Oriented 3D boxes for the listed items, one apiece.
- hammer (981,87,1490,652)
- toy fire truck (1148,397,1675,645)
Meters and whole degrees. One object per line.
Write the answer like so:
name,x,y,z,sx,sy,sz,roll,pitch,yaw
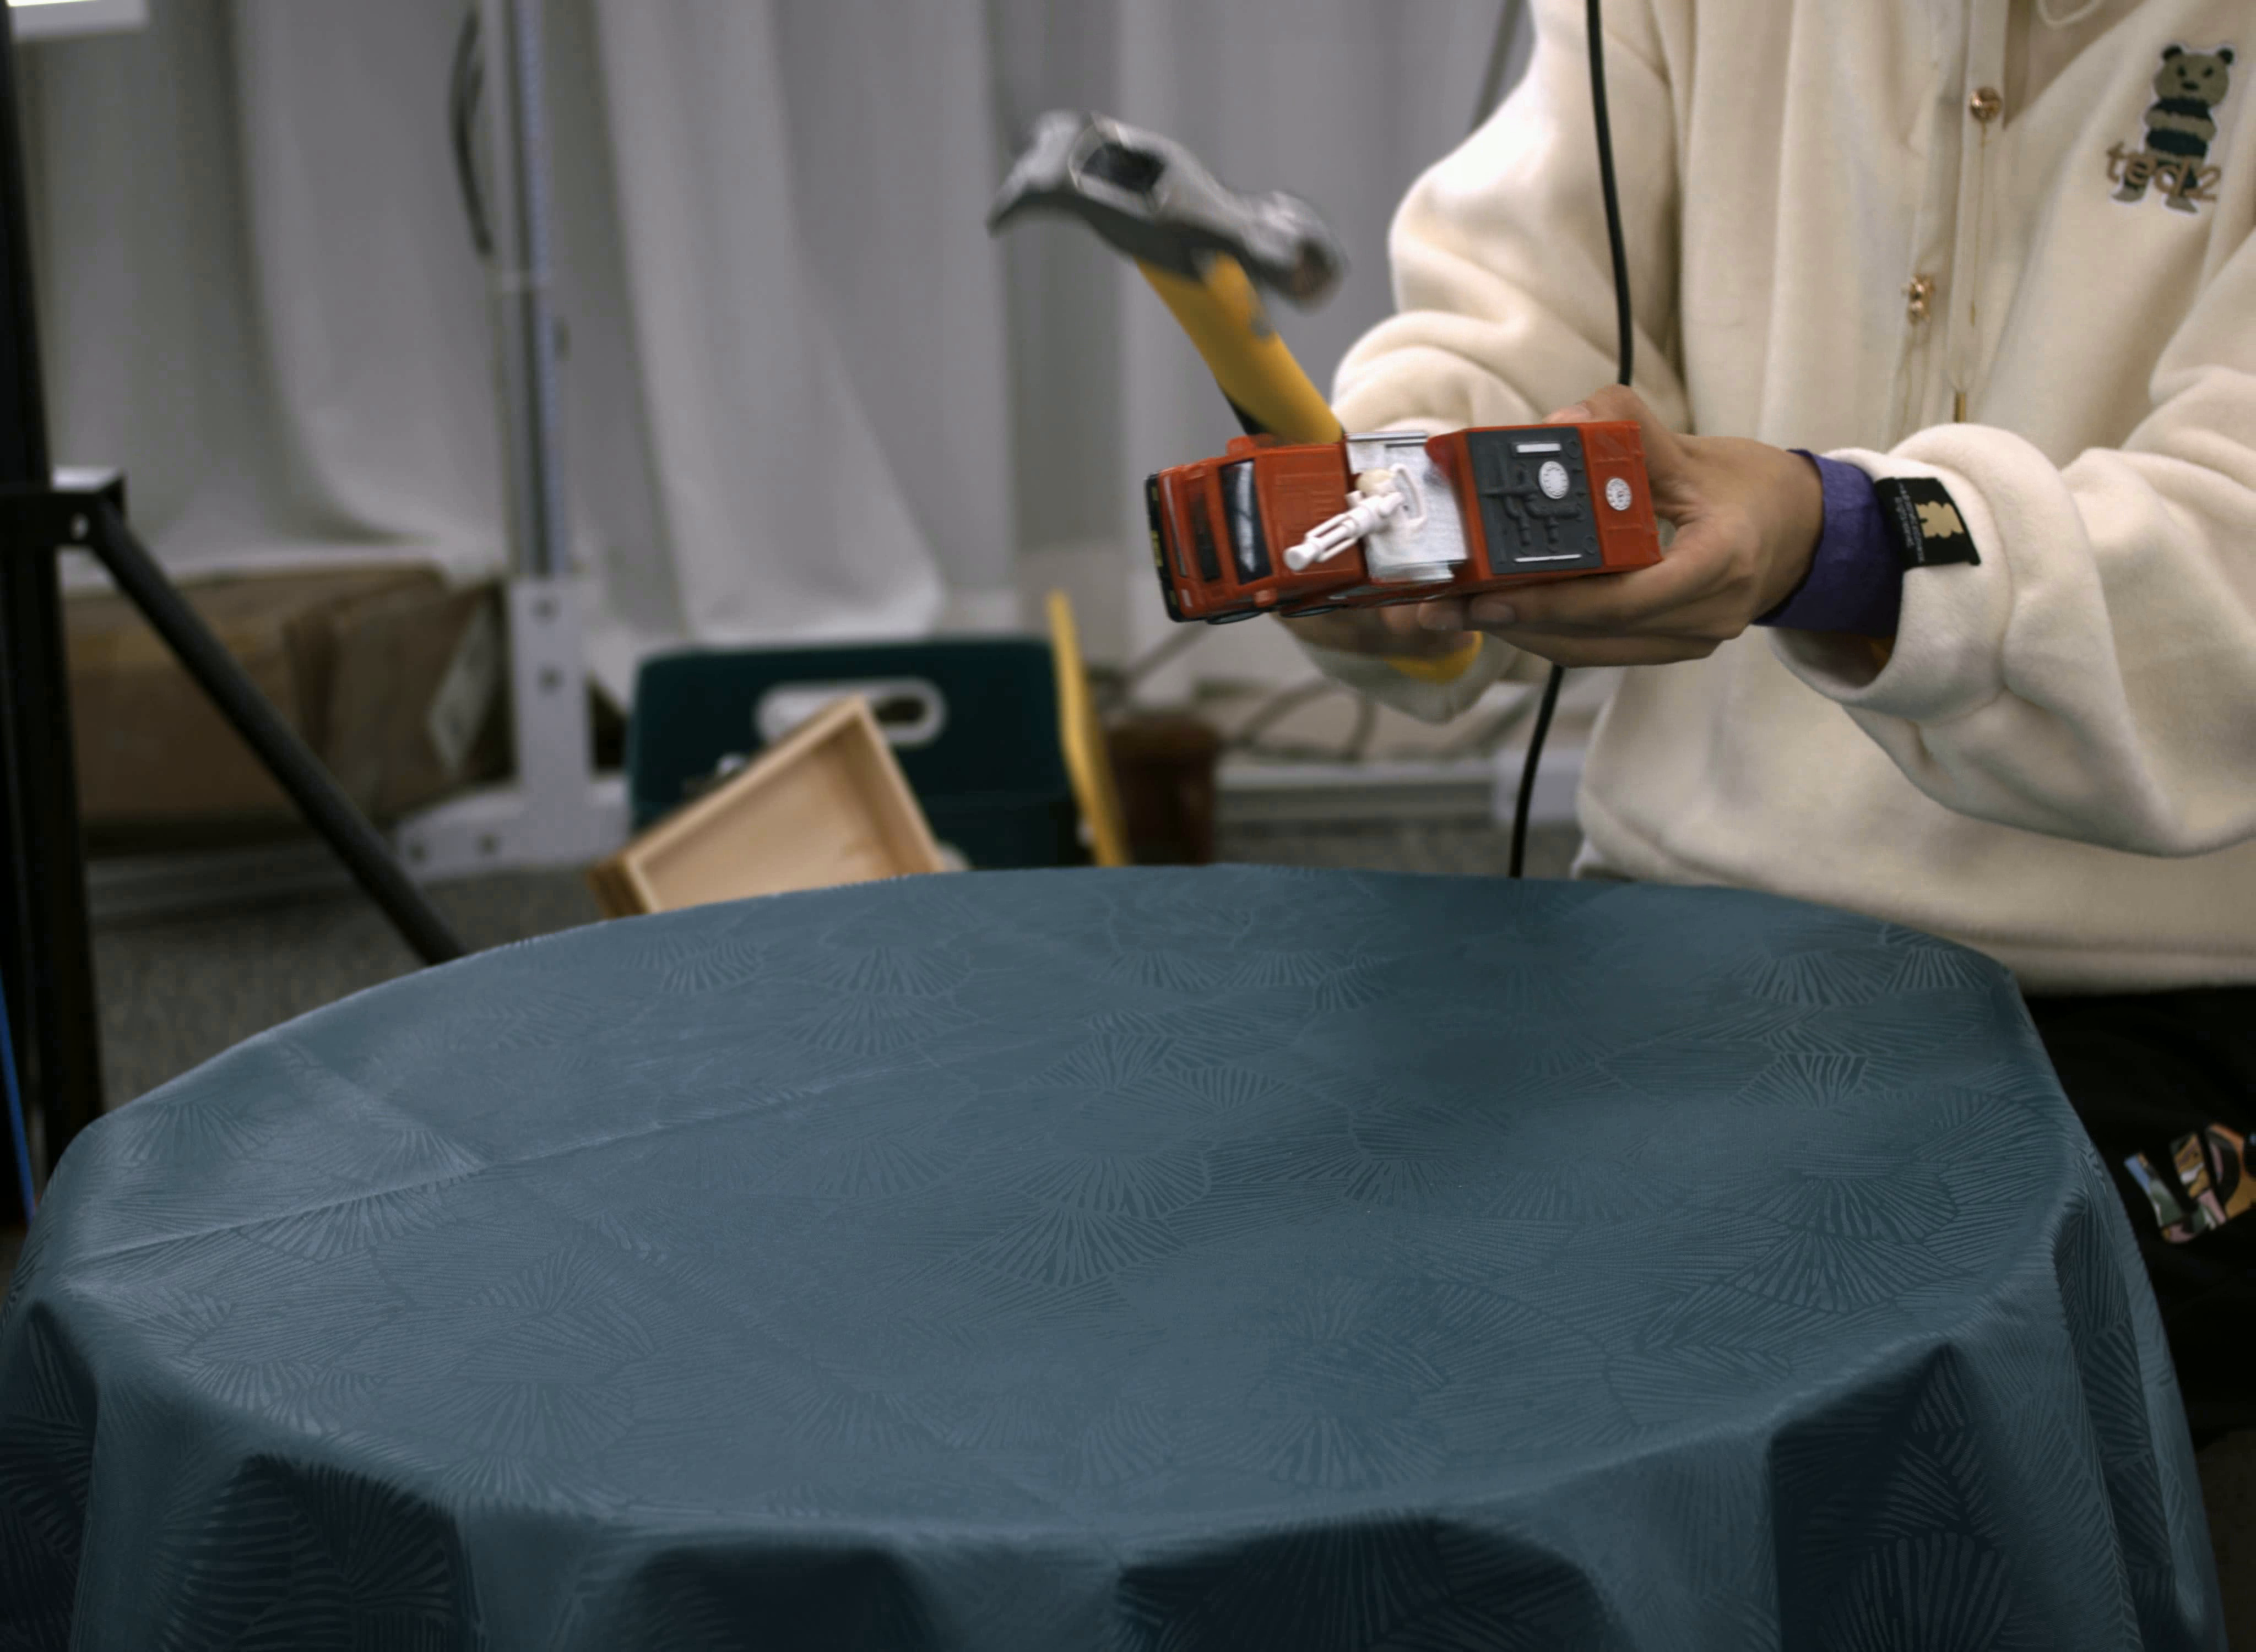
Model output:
hammer,0.053,-0.138,1.696,0.134,0.032,0.332,23,-13,29
toy fire truck,0.083,-0.088,1.522,0.164,0.054,0.071,-6,-6,-40
